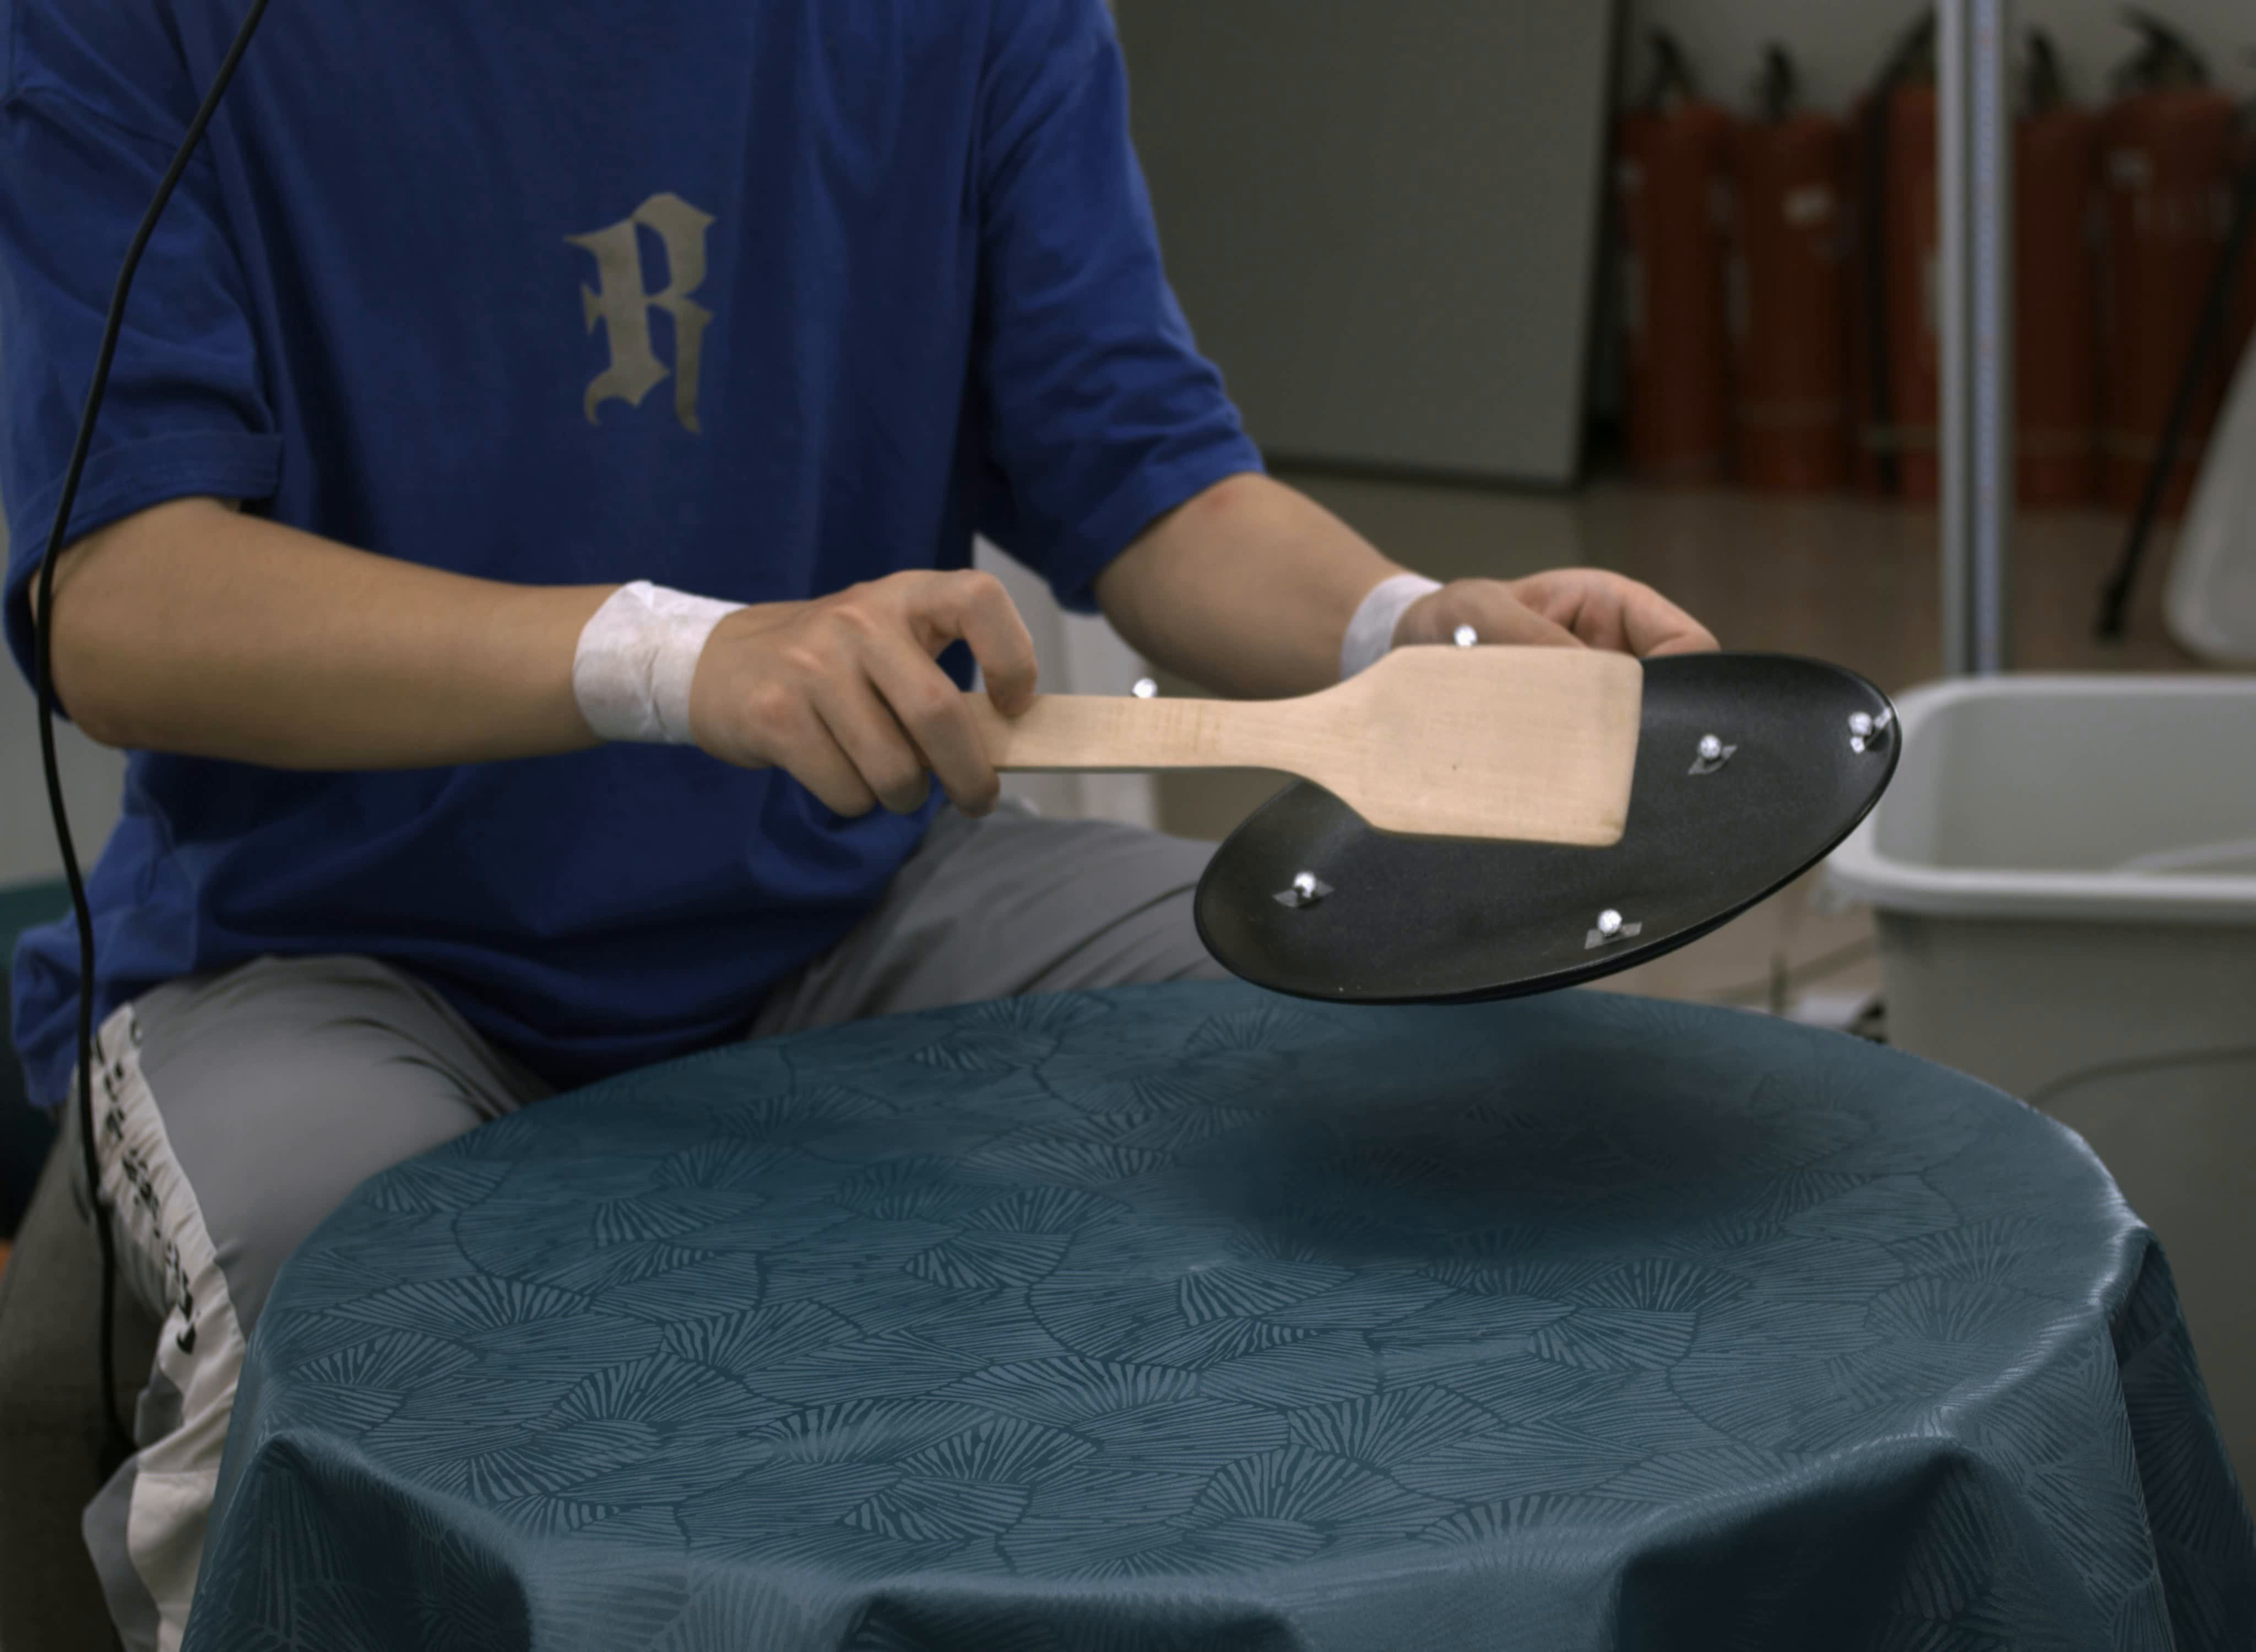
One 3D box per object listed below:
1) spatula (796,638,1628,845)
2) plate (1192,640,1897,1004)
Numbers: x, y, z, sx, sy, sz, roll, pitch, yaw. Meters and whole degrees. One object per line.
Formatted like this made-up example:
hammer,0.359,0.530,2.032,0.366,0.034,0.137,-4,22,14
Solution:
spatula,0.023,-0.030,1.798,0.293,0.073,0.010,1,-25,21
plate,0.138,0.004,1.776,0.242,0.023,0.245,-17,22,6
